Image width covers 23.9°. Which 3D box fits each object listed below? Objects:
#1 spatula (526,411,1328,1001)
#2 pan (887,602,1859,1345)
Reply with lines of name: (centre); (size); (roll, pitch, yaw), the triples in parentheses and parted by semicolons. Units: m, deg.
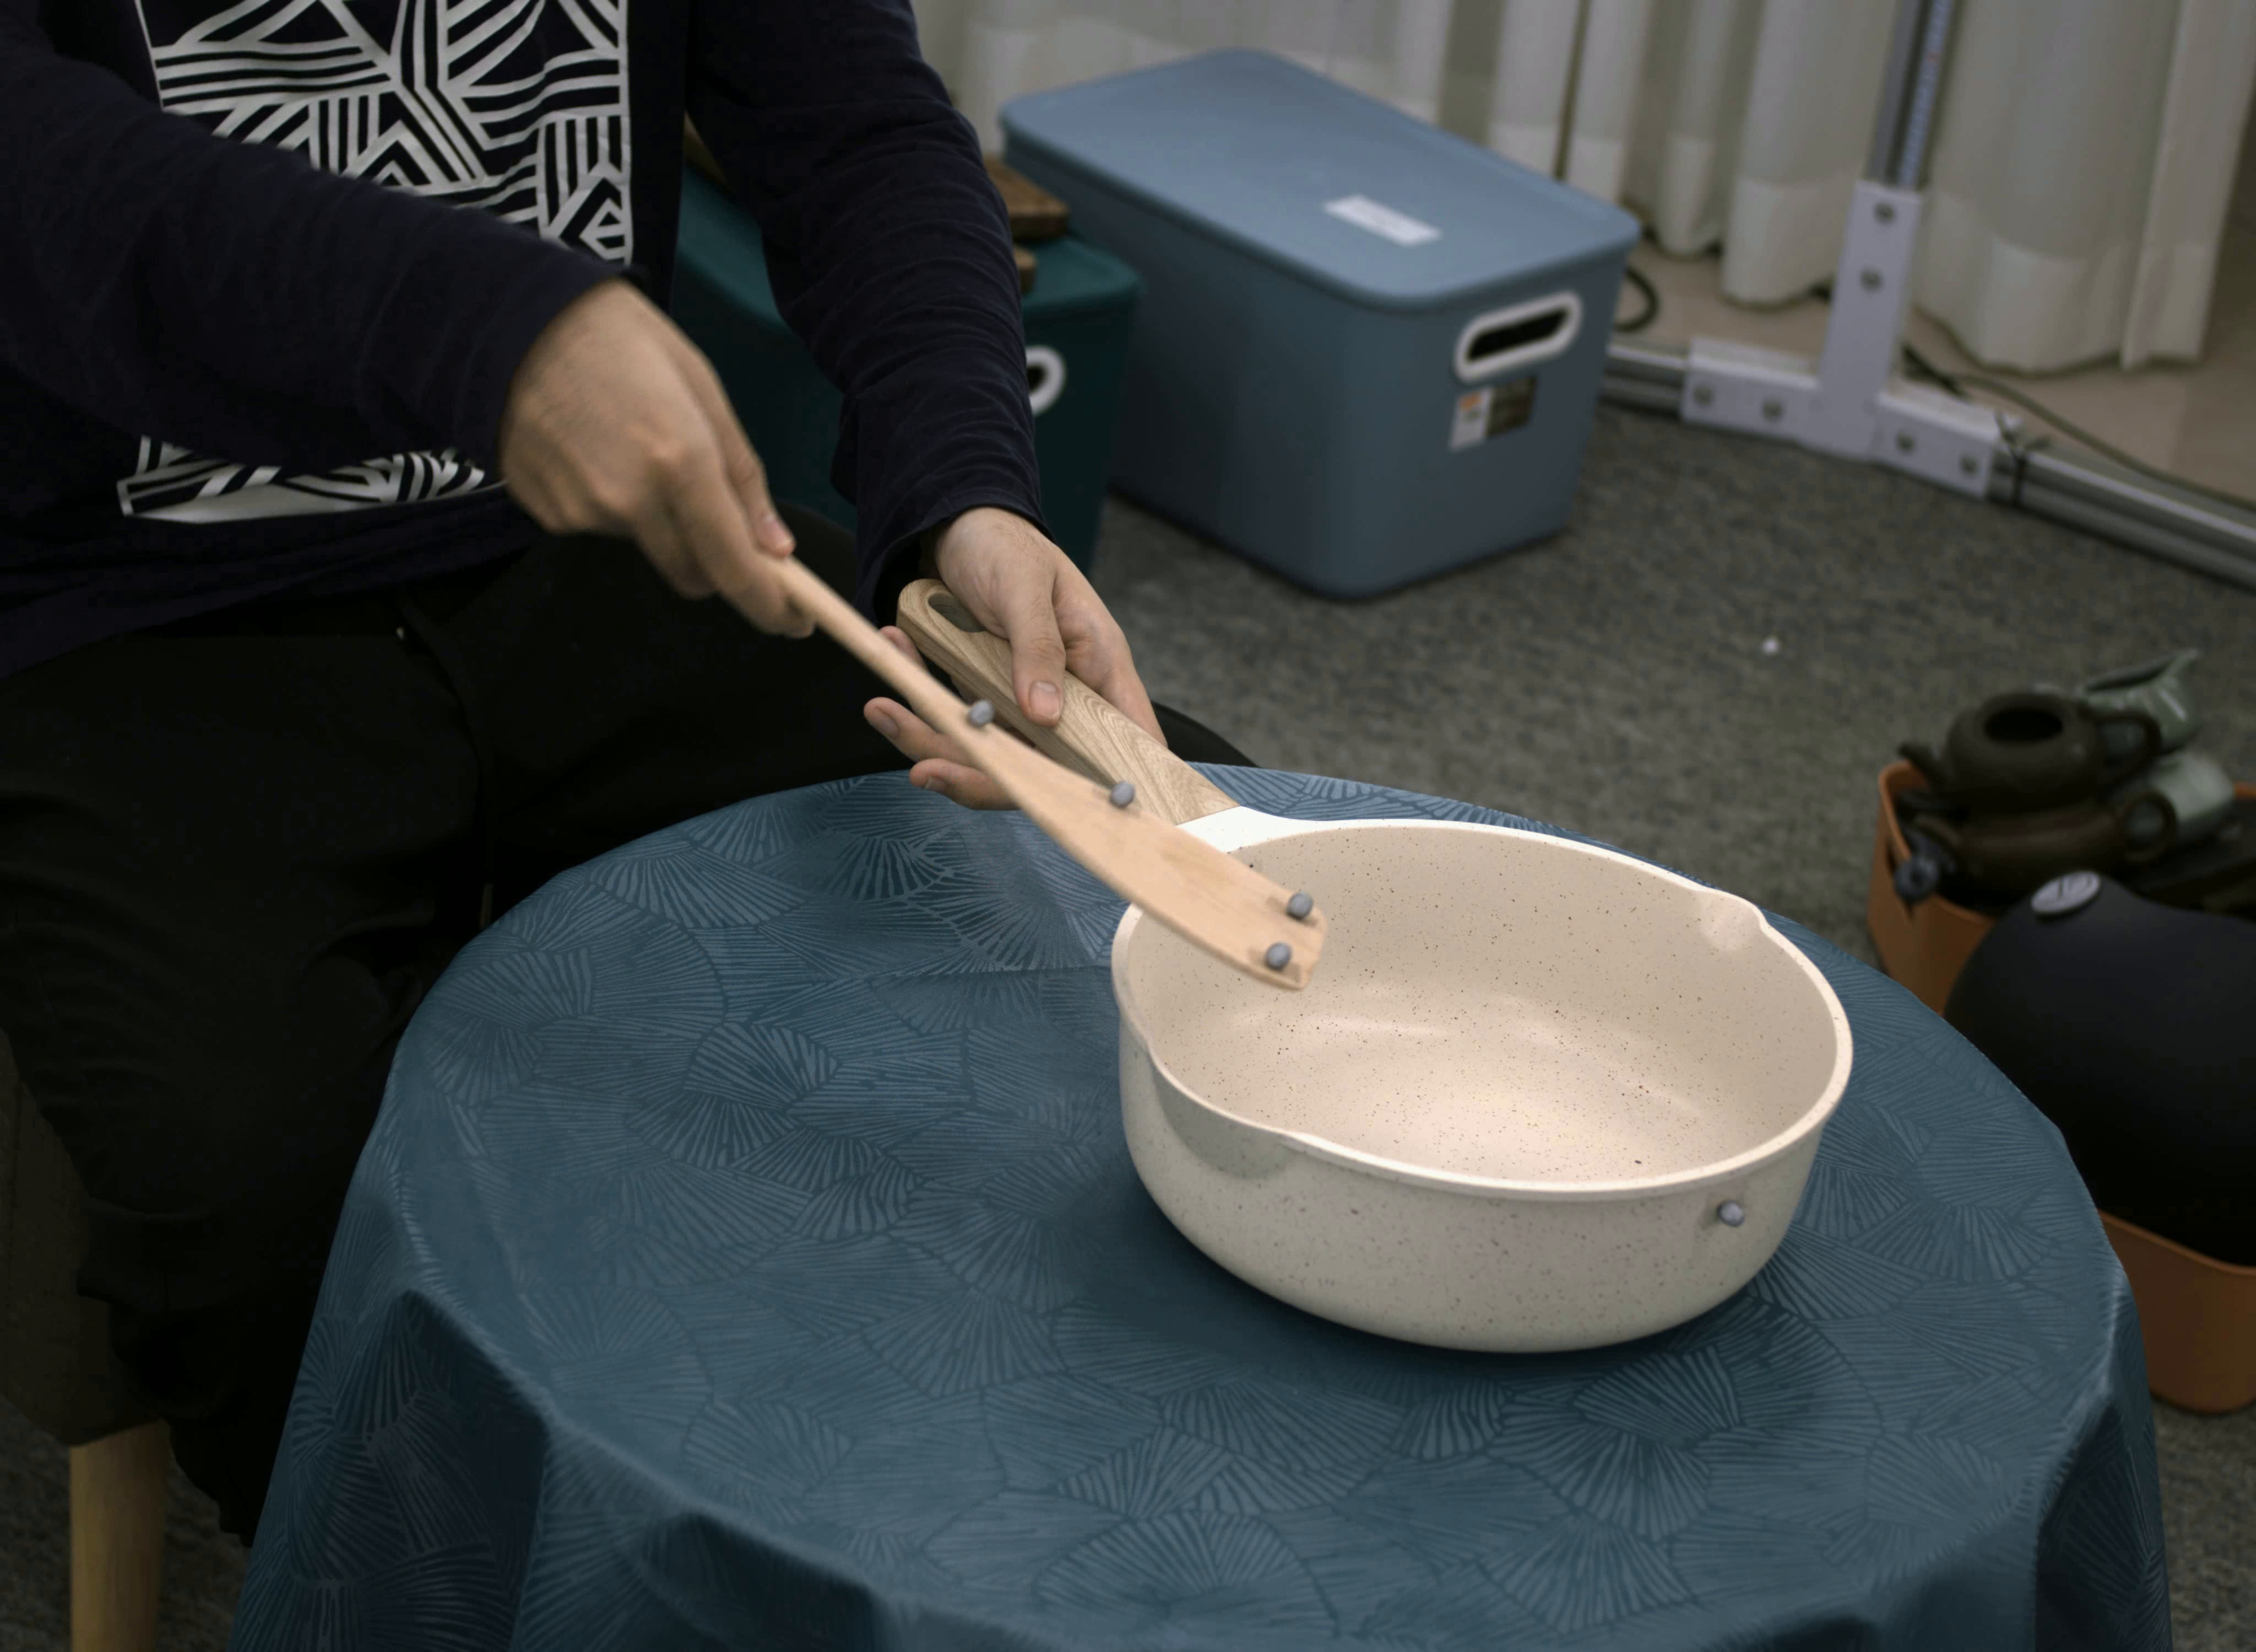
spatula: (-0.067, -0.044, 1.759); (0.328, 0.016, 0.080); (37, 23, 9)
pan: (0.058, 0.047, 1.869); (0.262, 0.101, 0.438); (-18, 35, -38)
